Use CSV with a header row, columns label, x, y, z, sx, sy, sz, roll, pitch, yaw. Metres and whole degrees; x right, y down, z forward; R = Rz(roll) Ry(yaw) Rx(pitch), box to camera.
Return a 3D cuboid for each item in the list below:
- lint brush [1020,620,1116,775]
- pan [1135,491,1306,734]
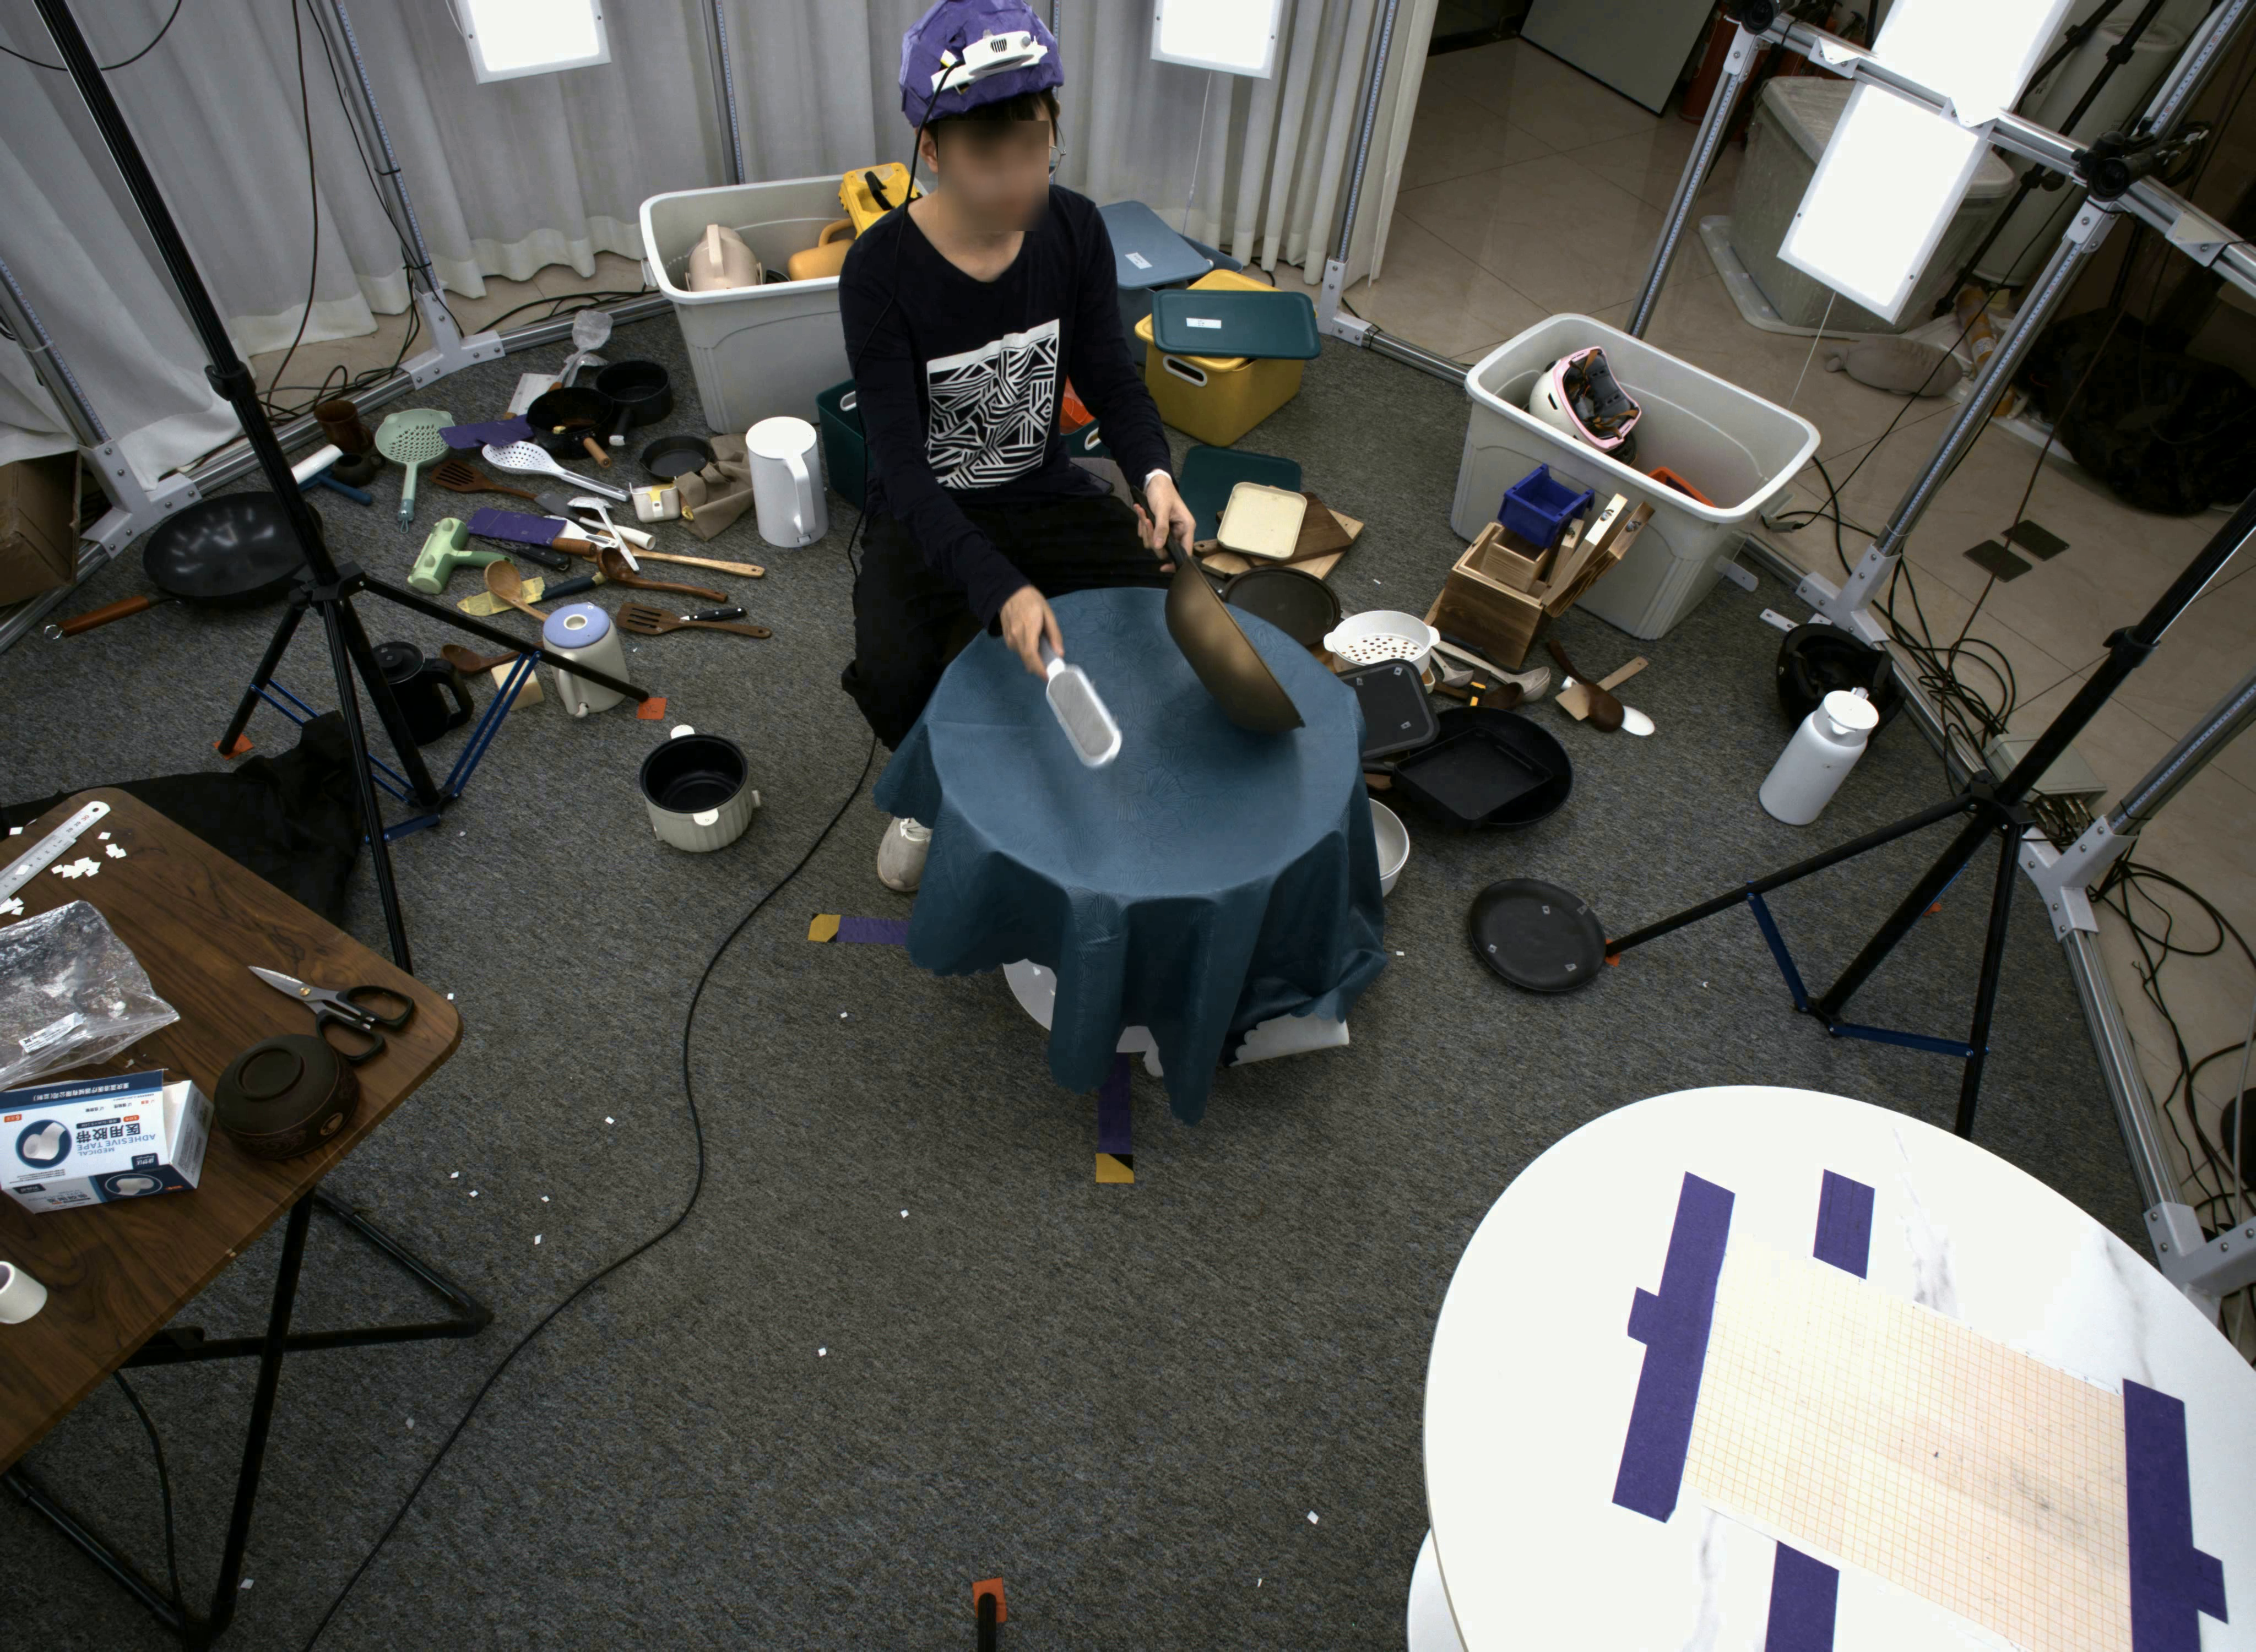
label,x,y,z,sx,sy,sz,roll,pitch,yaw
lint brush,-0.086,-0.179,1.704,0.060,0.020,0.316,-40,48,13
pan,0.088,-0.296,1.777,0.086,0.283,0.473,-34,60,7
